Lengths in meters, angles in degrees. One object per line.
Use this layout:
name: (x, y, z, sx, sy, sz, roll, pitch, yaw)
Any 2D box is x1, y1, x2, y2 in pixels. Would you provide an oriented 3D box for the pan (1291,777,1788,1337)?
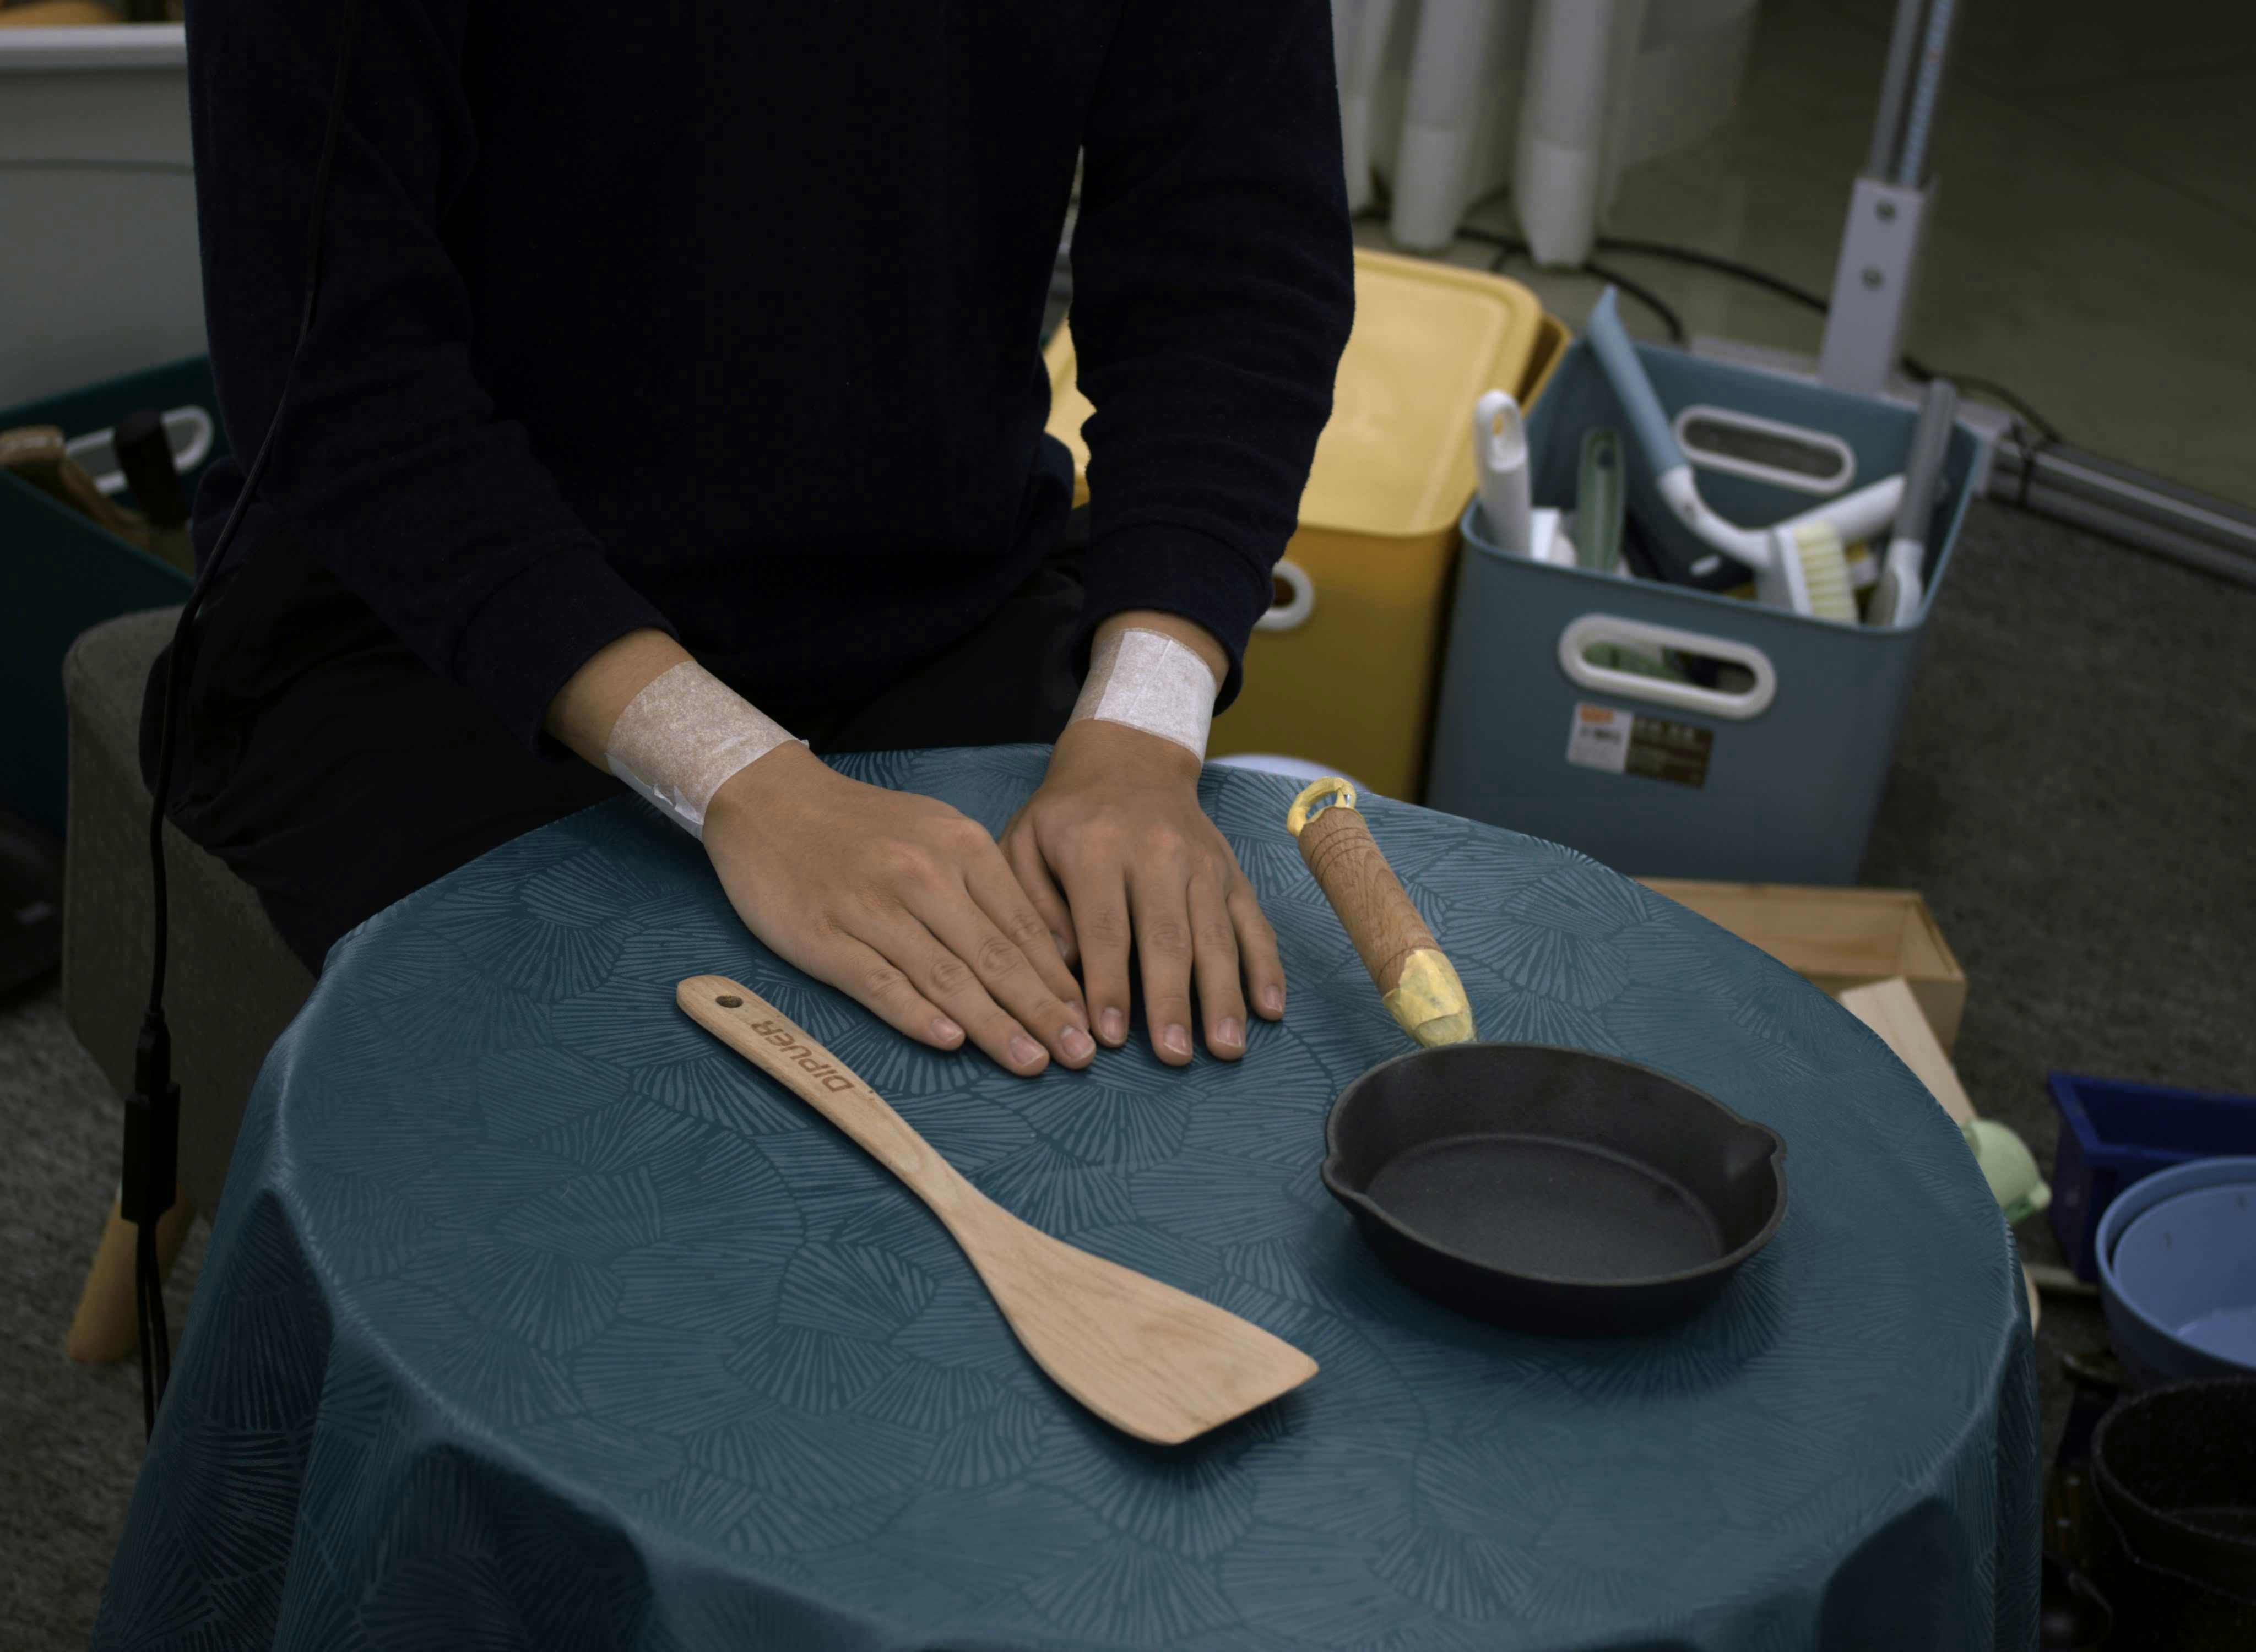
pan: (0.118, 0.078, 1.862, 0.168, 0.049, 0.327, -3, 30, -18)

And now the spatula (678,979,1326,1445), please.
spatula: (-0.055, 0.122, 1.776, 0.079, 0.016, 0.330, -13, 33, -35)
